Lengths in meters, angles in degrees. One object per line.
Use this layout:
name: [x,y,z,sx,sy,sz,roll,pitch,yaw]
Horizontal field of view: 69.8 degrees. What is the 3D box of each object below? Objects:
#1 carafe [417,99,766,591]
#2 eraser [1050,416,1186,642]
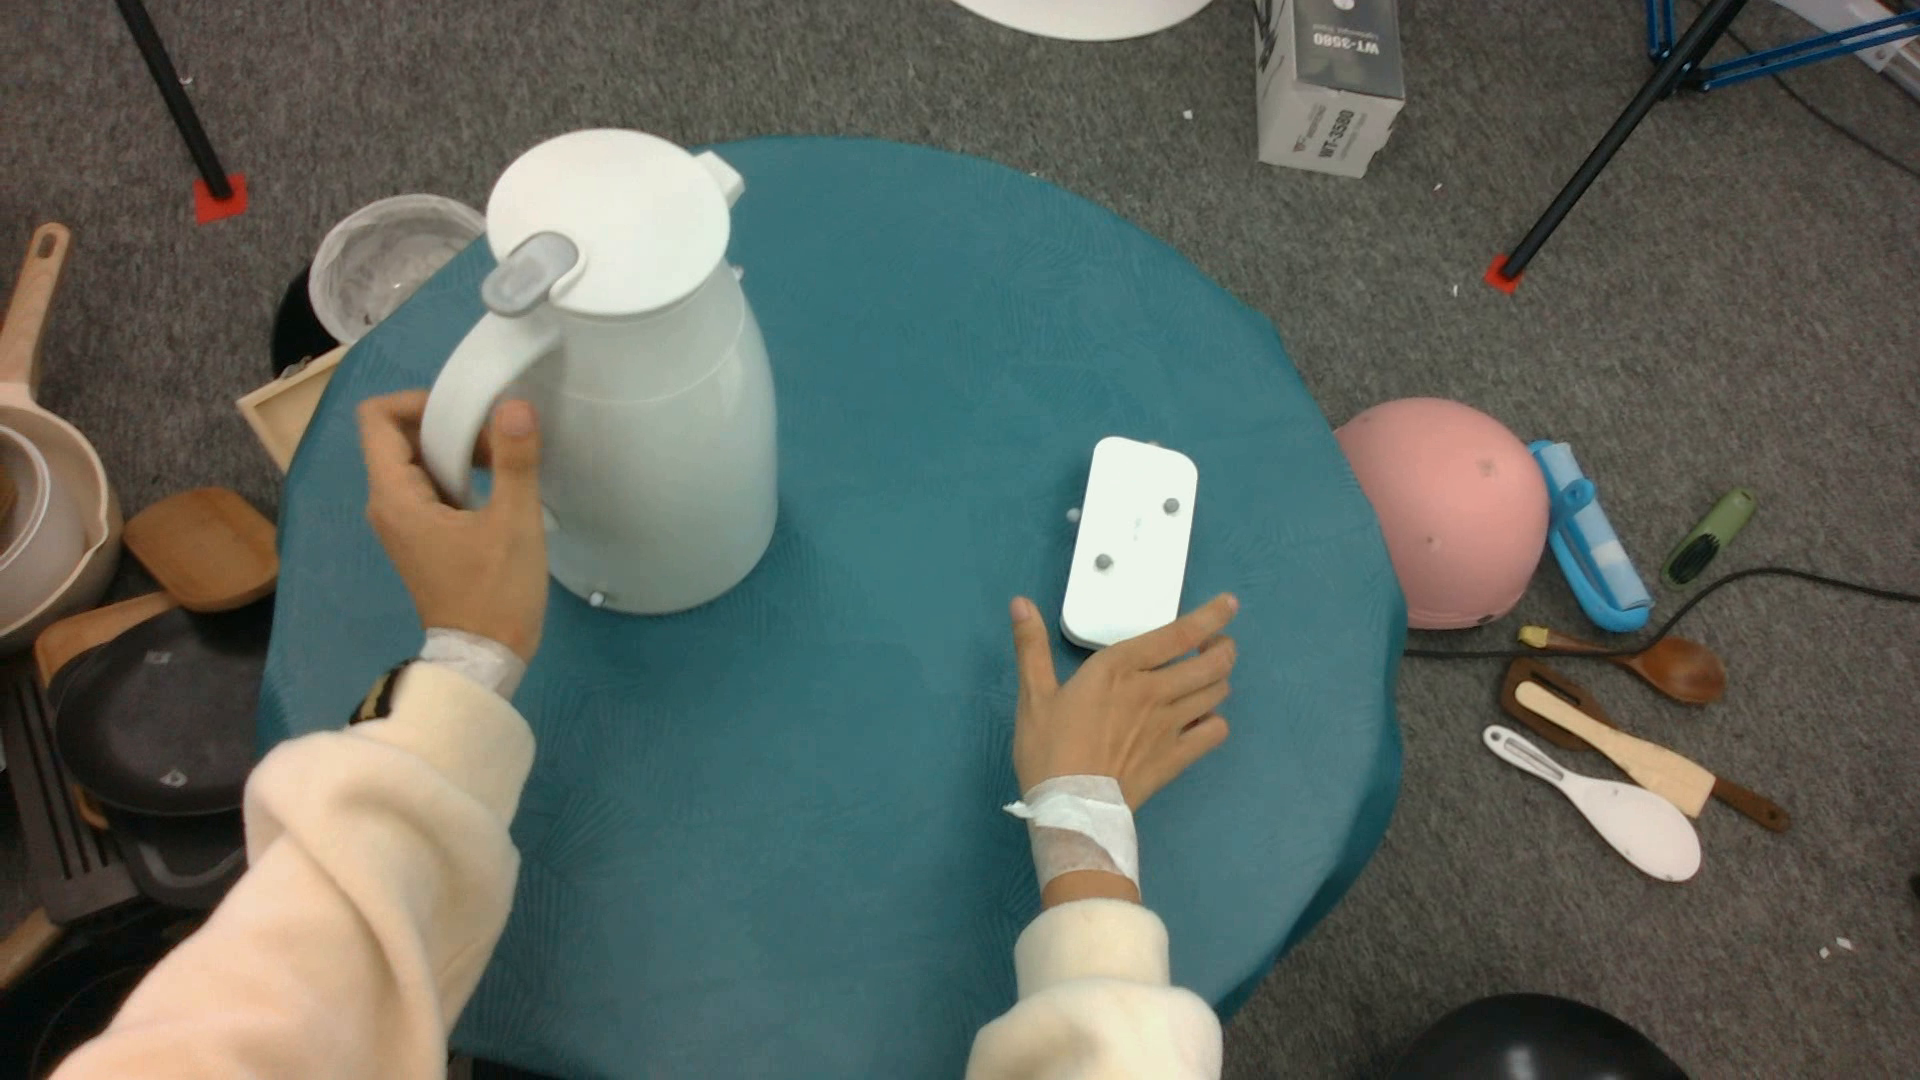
carafe: [-0.166,-0.073,0.629,0.132,0.247,0.168,39,65,10]
eraser: [0.086,-0.009,0.761,0.063,0.034,0.132,13,62,1]
